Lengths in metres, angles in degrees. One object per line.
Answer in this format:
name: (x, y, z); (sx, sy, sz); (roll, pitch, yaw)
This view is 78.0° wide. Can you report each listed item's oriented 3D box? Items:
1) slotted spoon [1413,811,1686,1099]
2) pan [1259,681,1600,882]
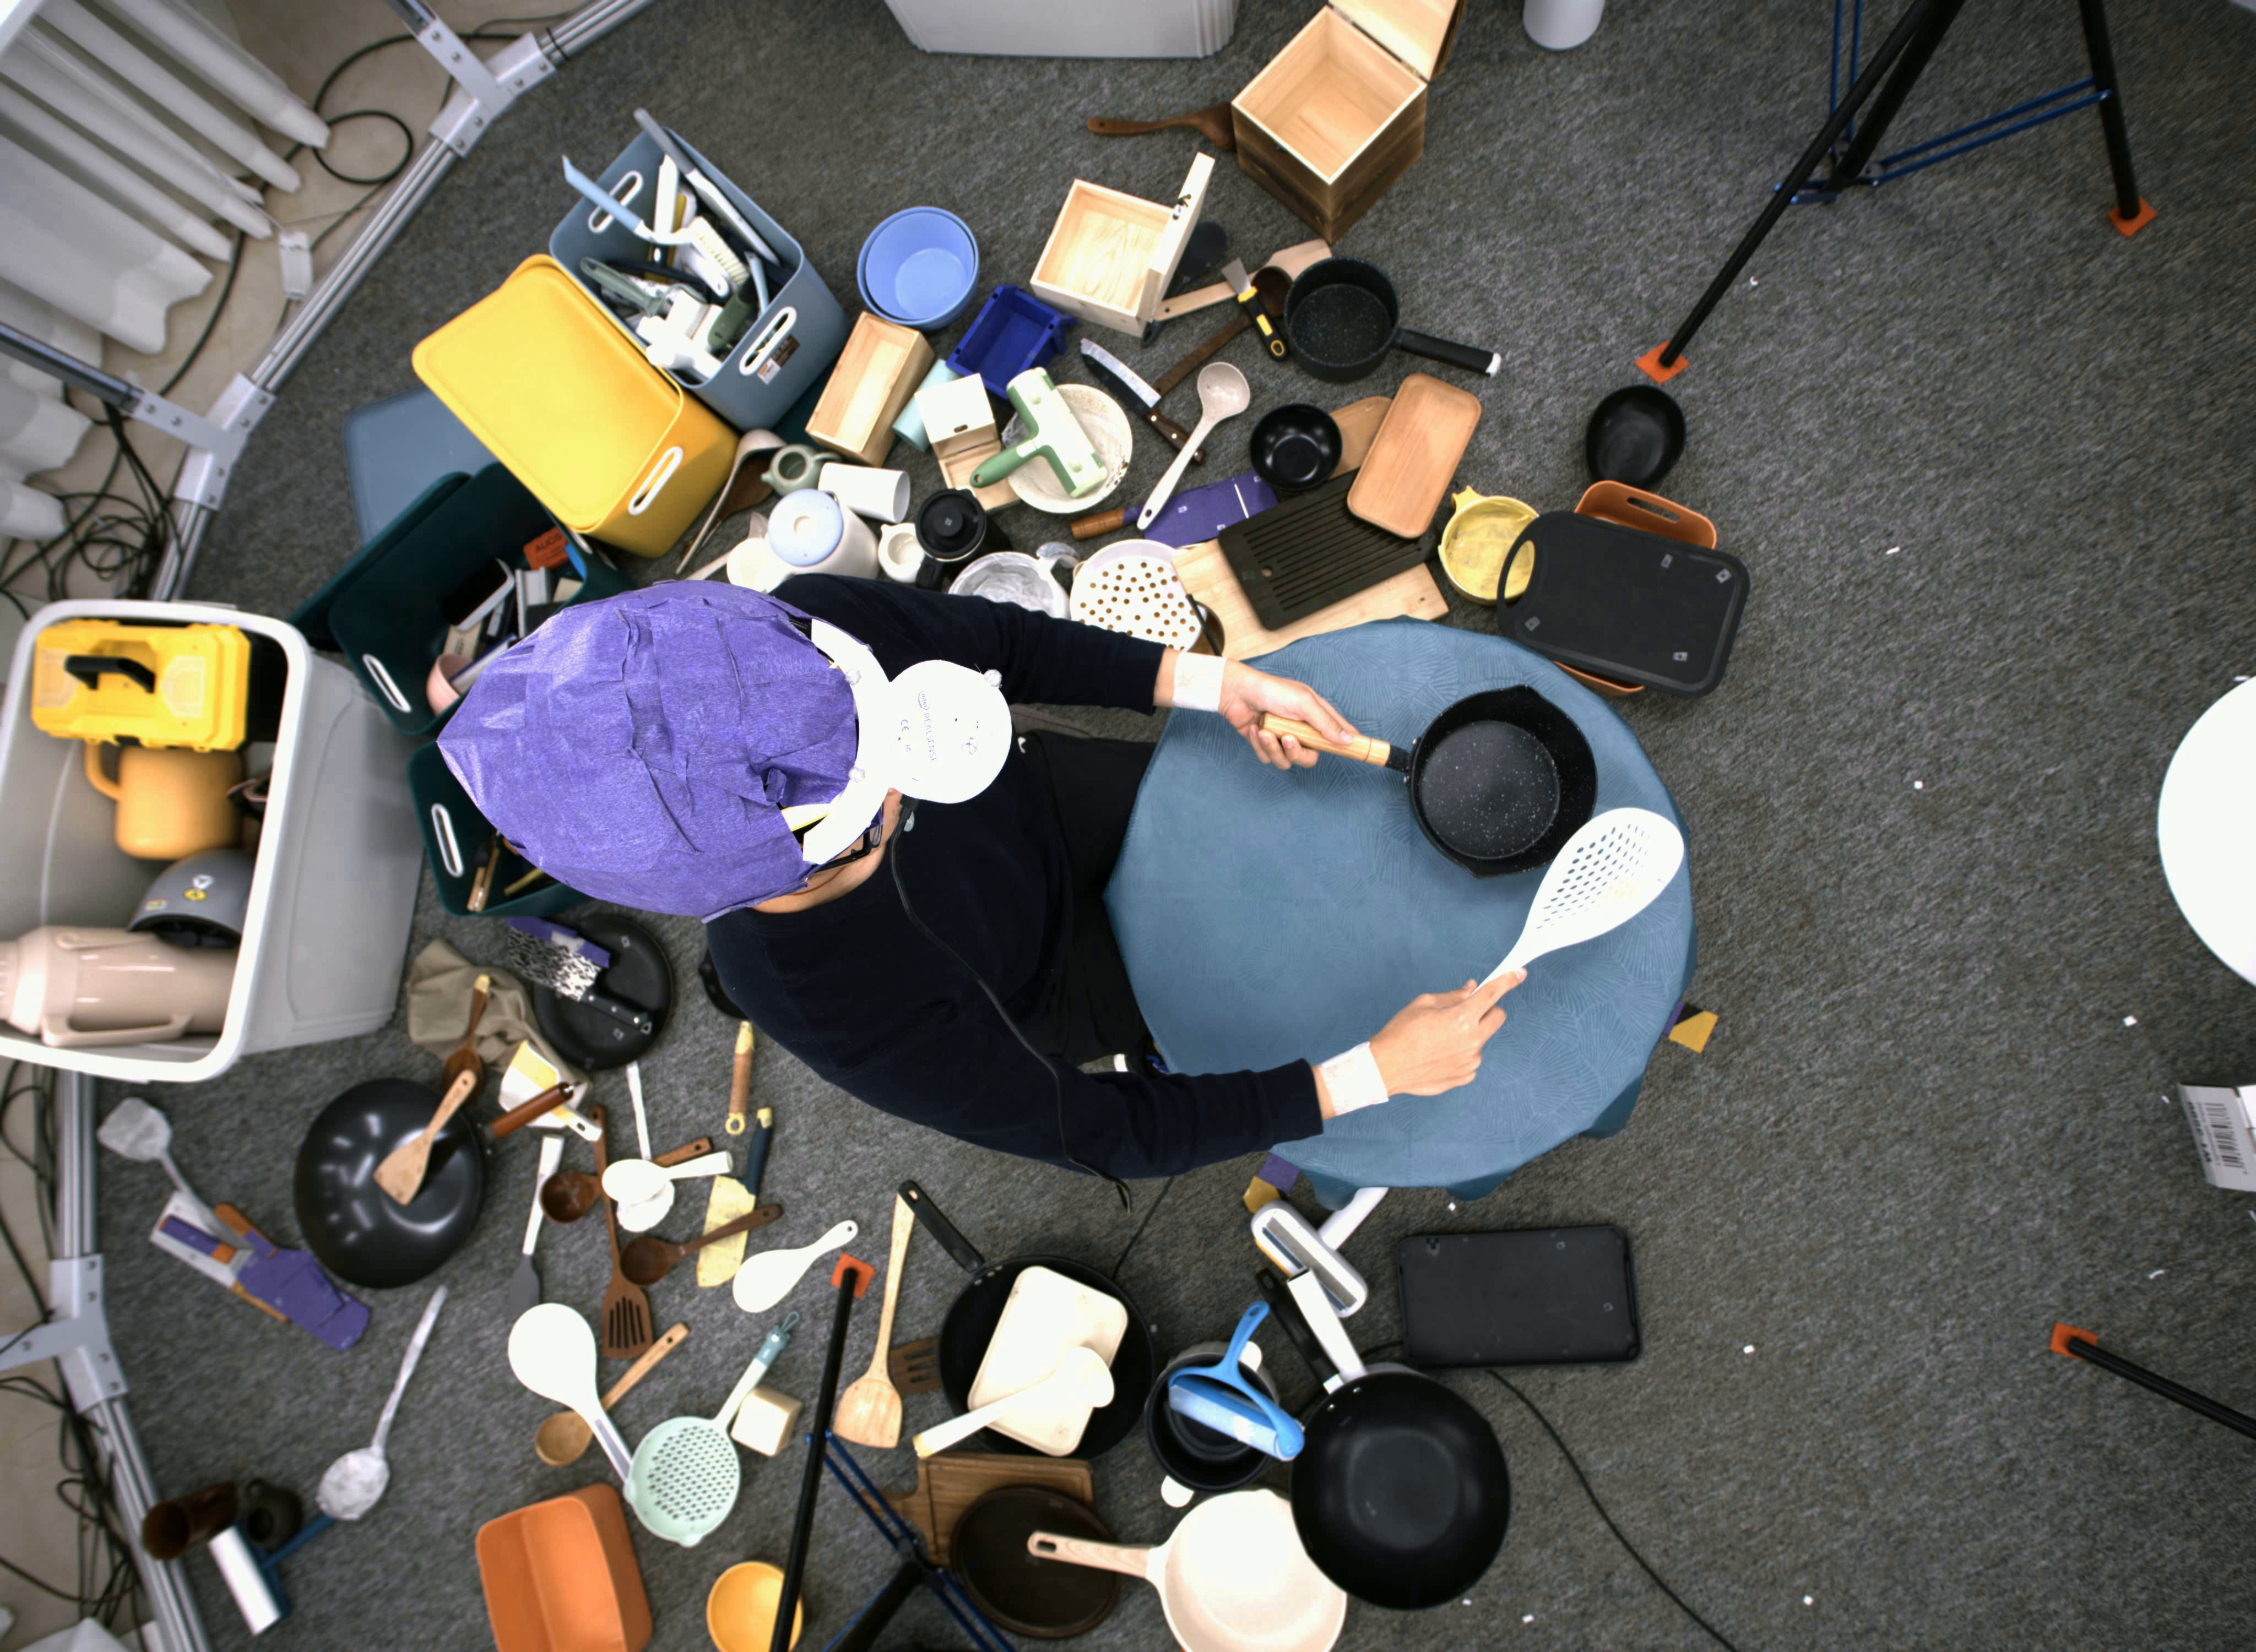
slotted spoon: (0.386, 0.121, 1.301); (0.348, 0.135, 0.051); (-42, 121, 0)
pan: (0.298, -0.060, 1.394); (0.343, 0.108, 0.207); (13, 90, 4)
